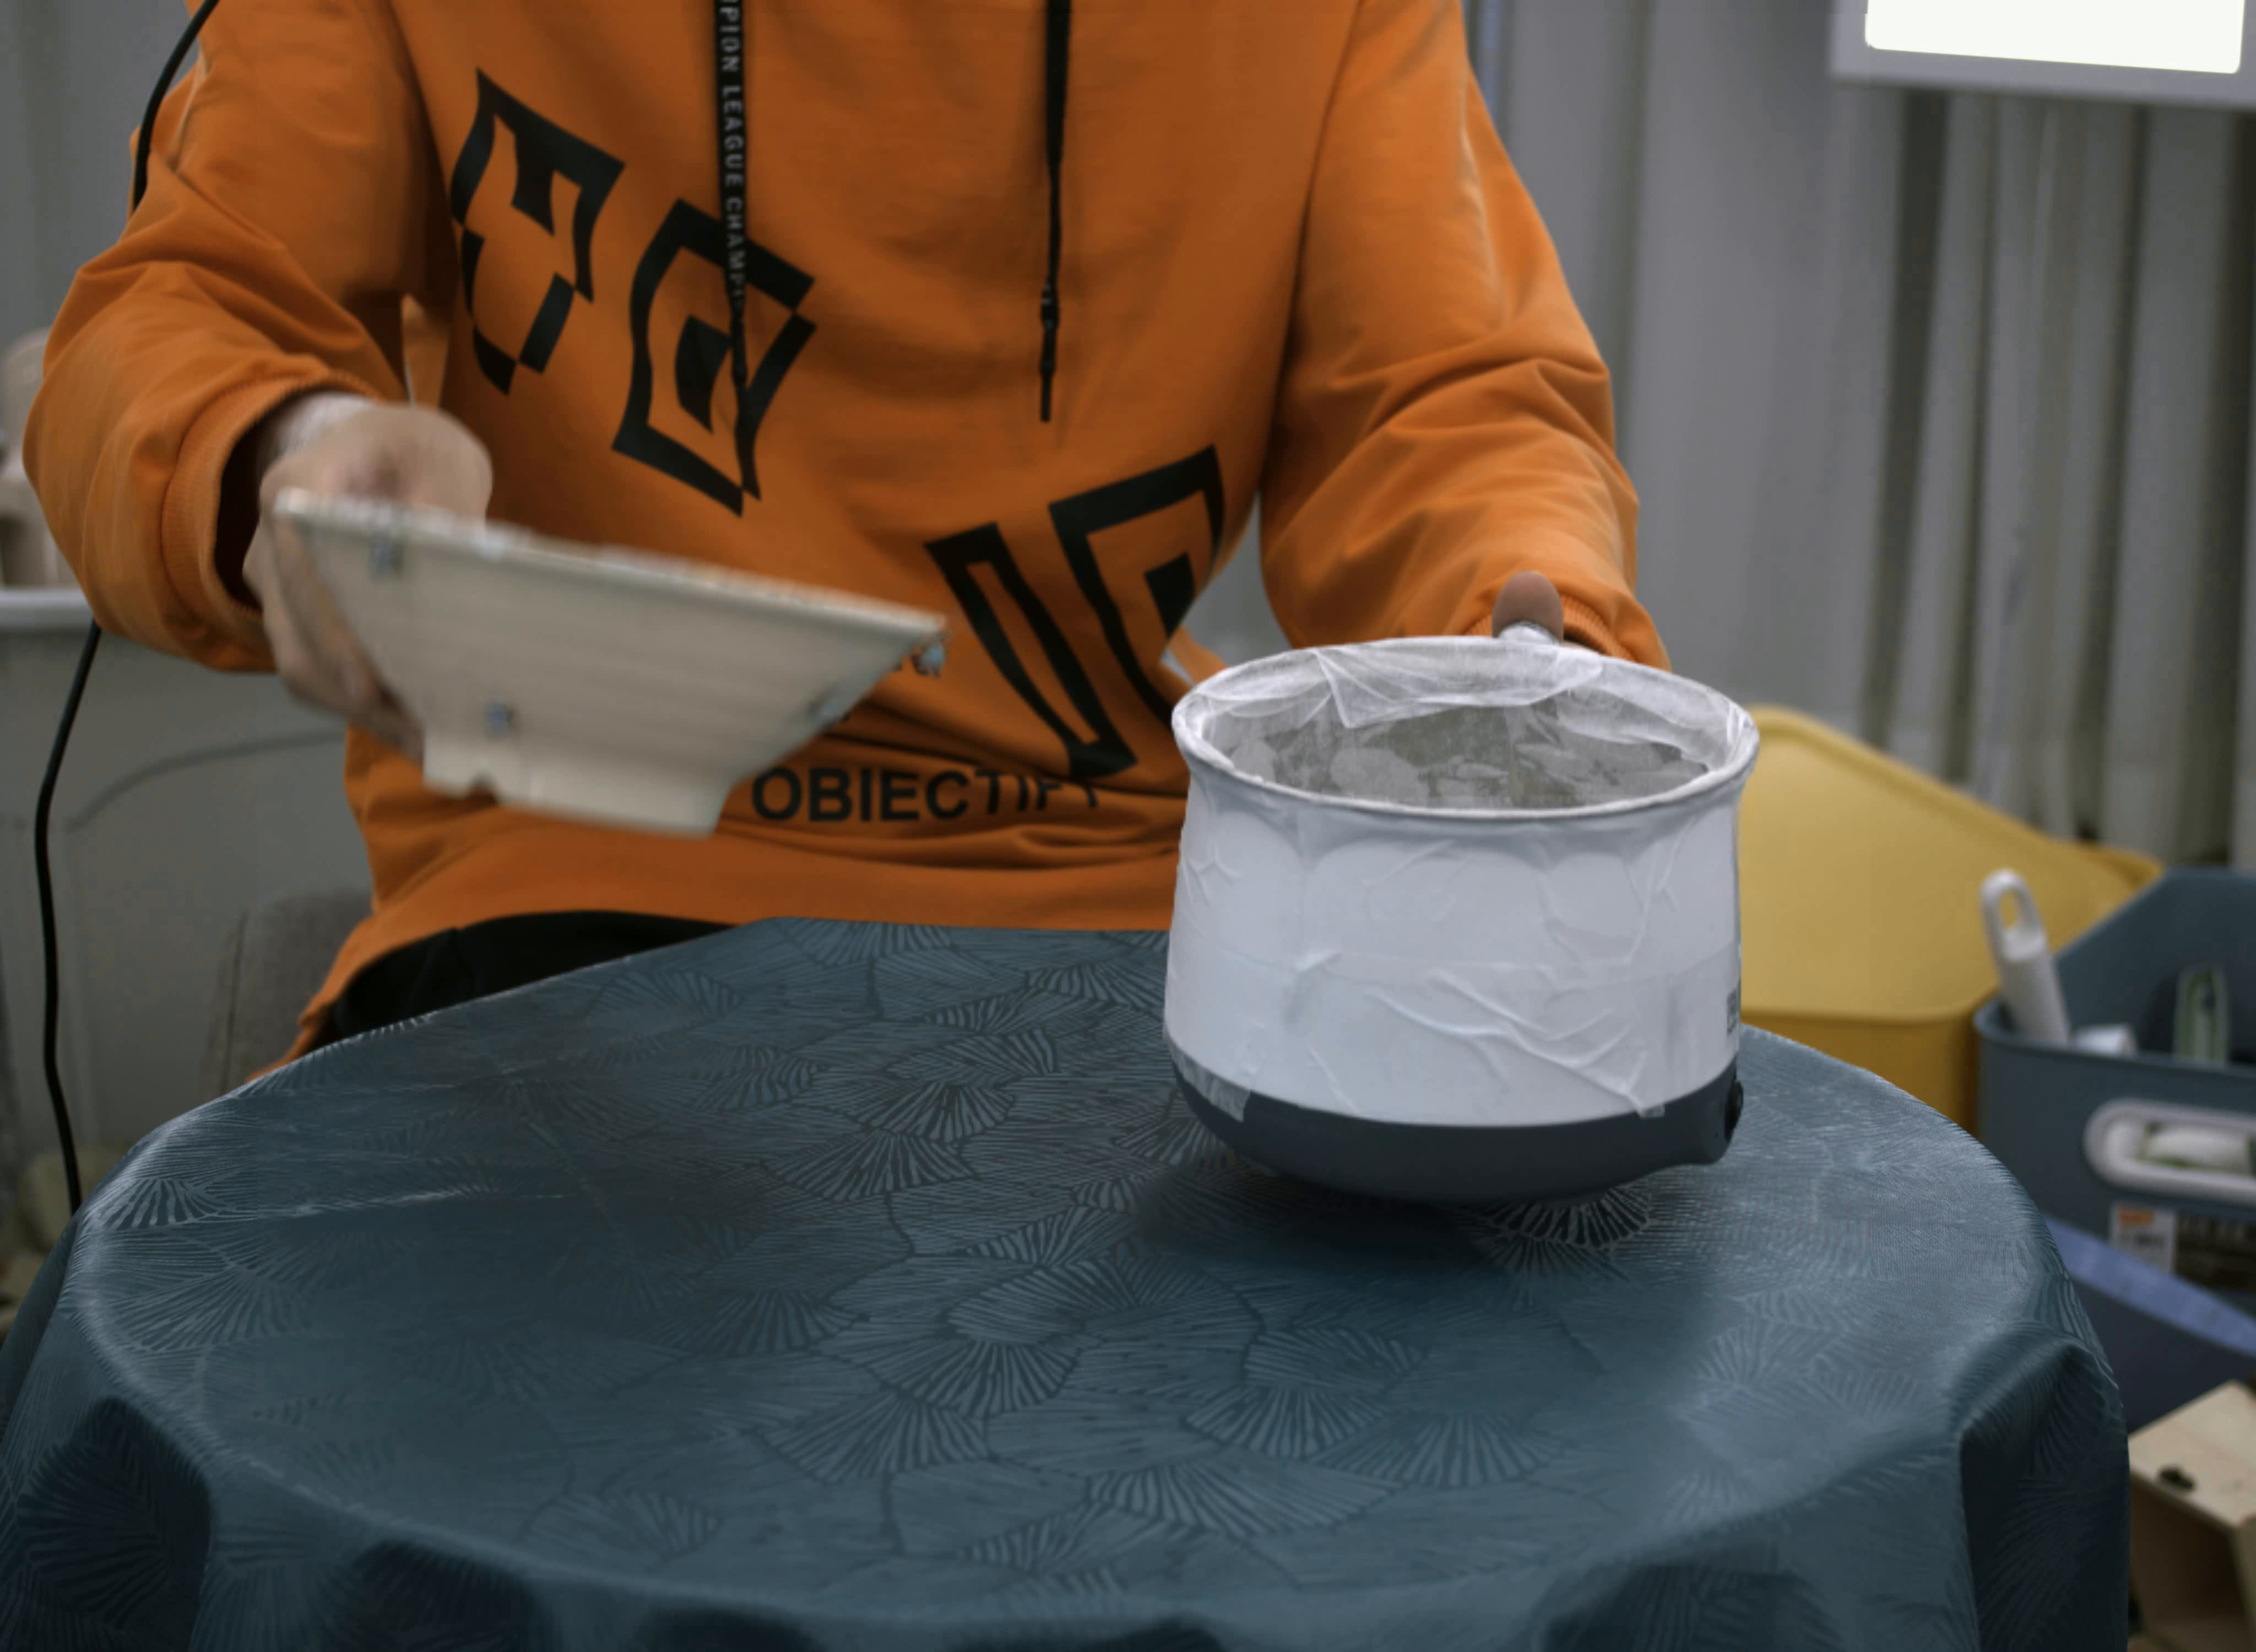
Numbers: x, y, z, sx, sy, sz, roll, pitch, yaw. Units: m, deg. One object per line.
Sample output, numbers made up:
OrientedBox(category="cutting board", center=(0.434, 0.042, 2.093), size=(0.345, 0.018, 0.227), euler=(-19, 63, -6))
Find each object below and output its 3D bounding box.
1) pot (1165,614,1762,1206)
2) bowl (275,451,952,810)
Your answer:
OrientedBox(category="pot", center=(0.106, 0.019, 1.626), size=(0.177, 0.138, 0.233), euler=(6, 19, 12))
OrientedBox(category="bowl", center=(-0.158, -0.051, 1.552), size=(0.203, 0.078, 0.204), euler=(11, -3, 1))
